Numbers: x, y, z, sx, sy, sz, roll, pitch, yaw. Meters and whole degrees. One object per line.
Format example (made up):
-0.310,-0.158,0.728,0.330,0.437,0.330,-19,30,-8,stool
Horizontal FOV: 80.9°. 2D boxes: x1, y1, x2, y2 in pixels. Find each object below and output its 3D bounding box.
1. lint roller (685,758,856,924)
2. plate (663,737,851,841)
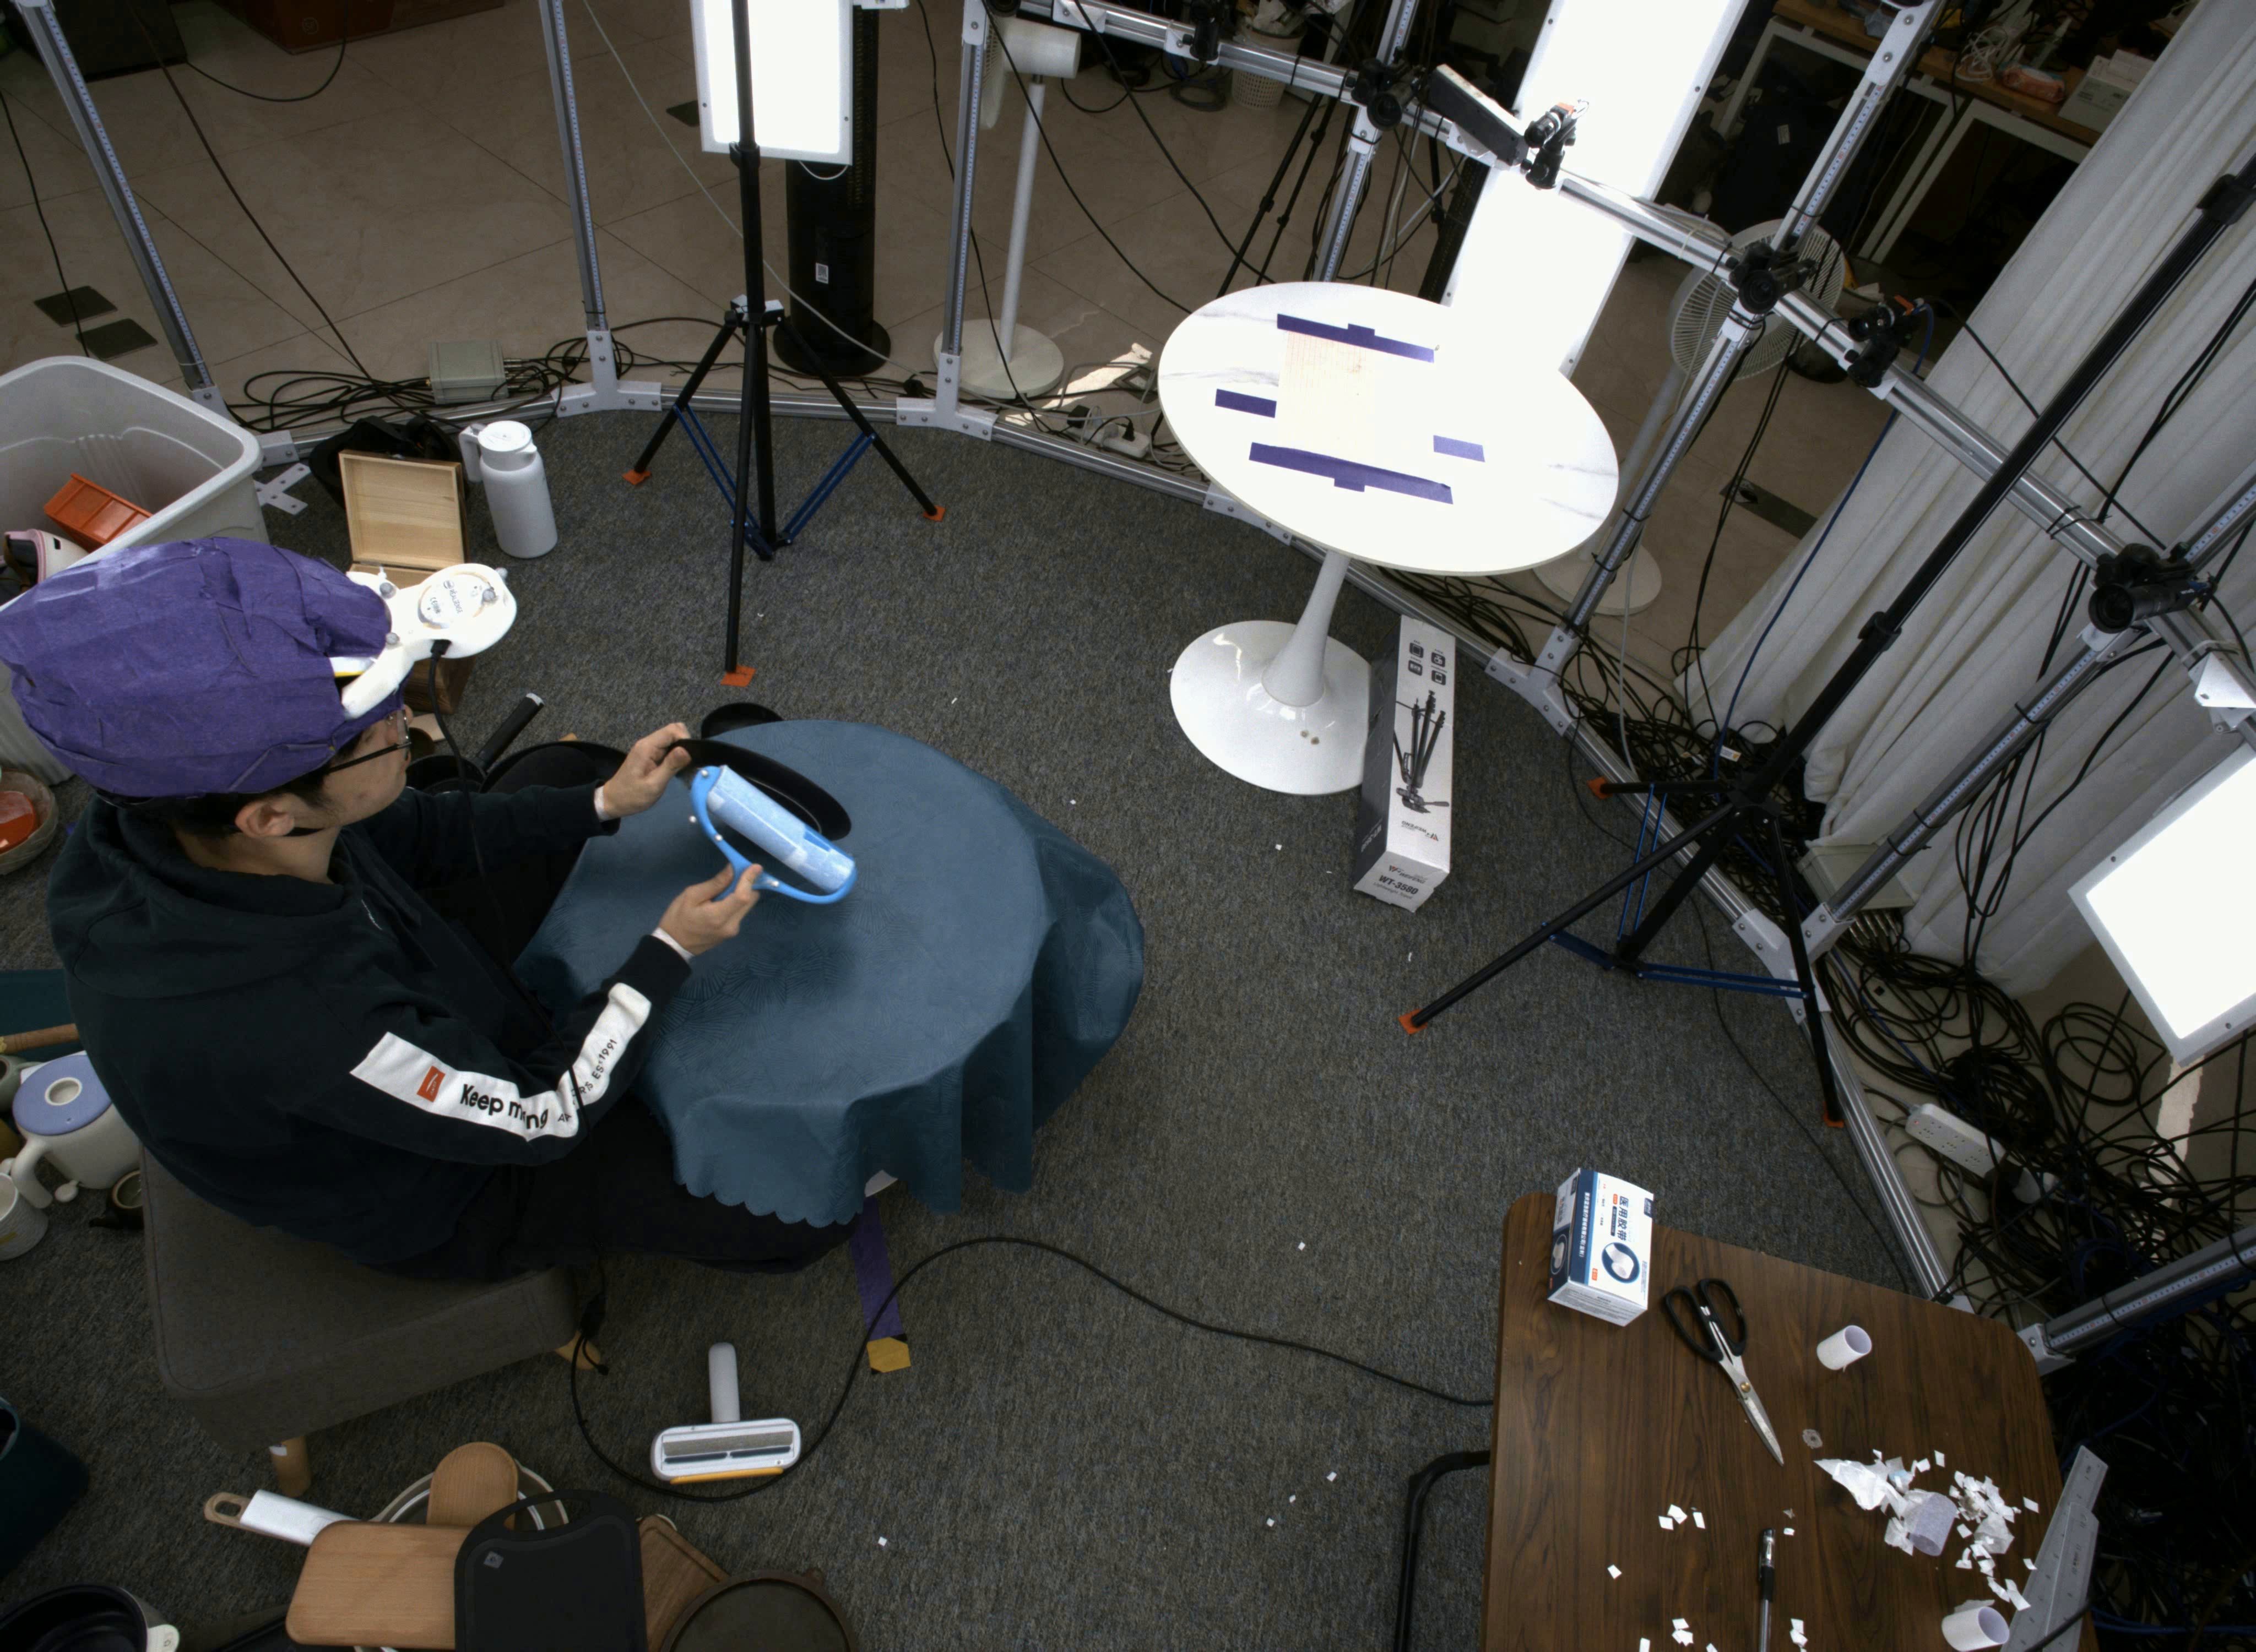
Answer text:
-0.449,0.047,1.516,0.236,0.181,0.065,36,0,-31,lint roller
-0.462,-0.035,1.598,0.242,0.248,0.023,16,66,0,plate
